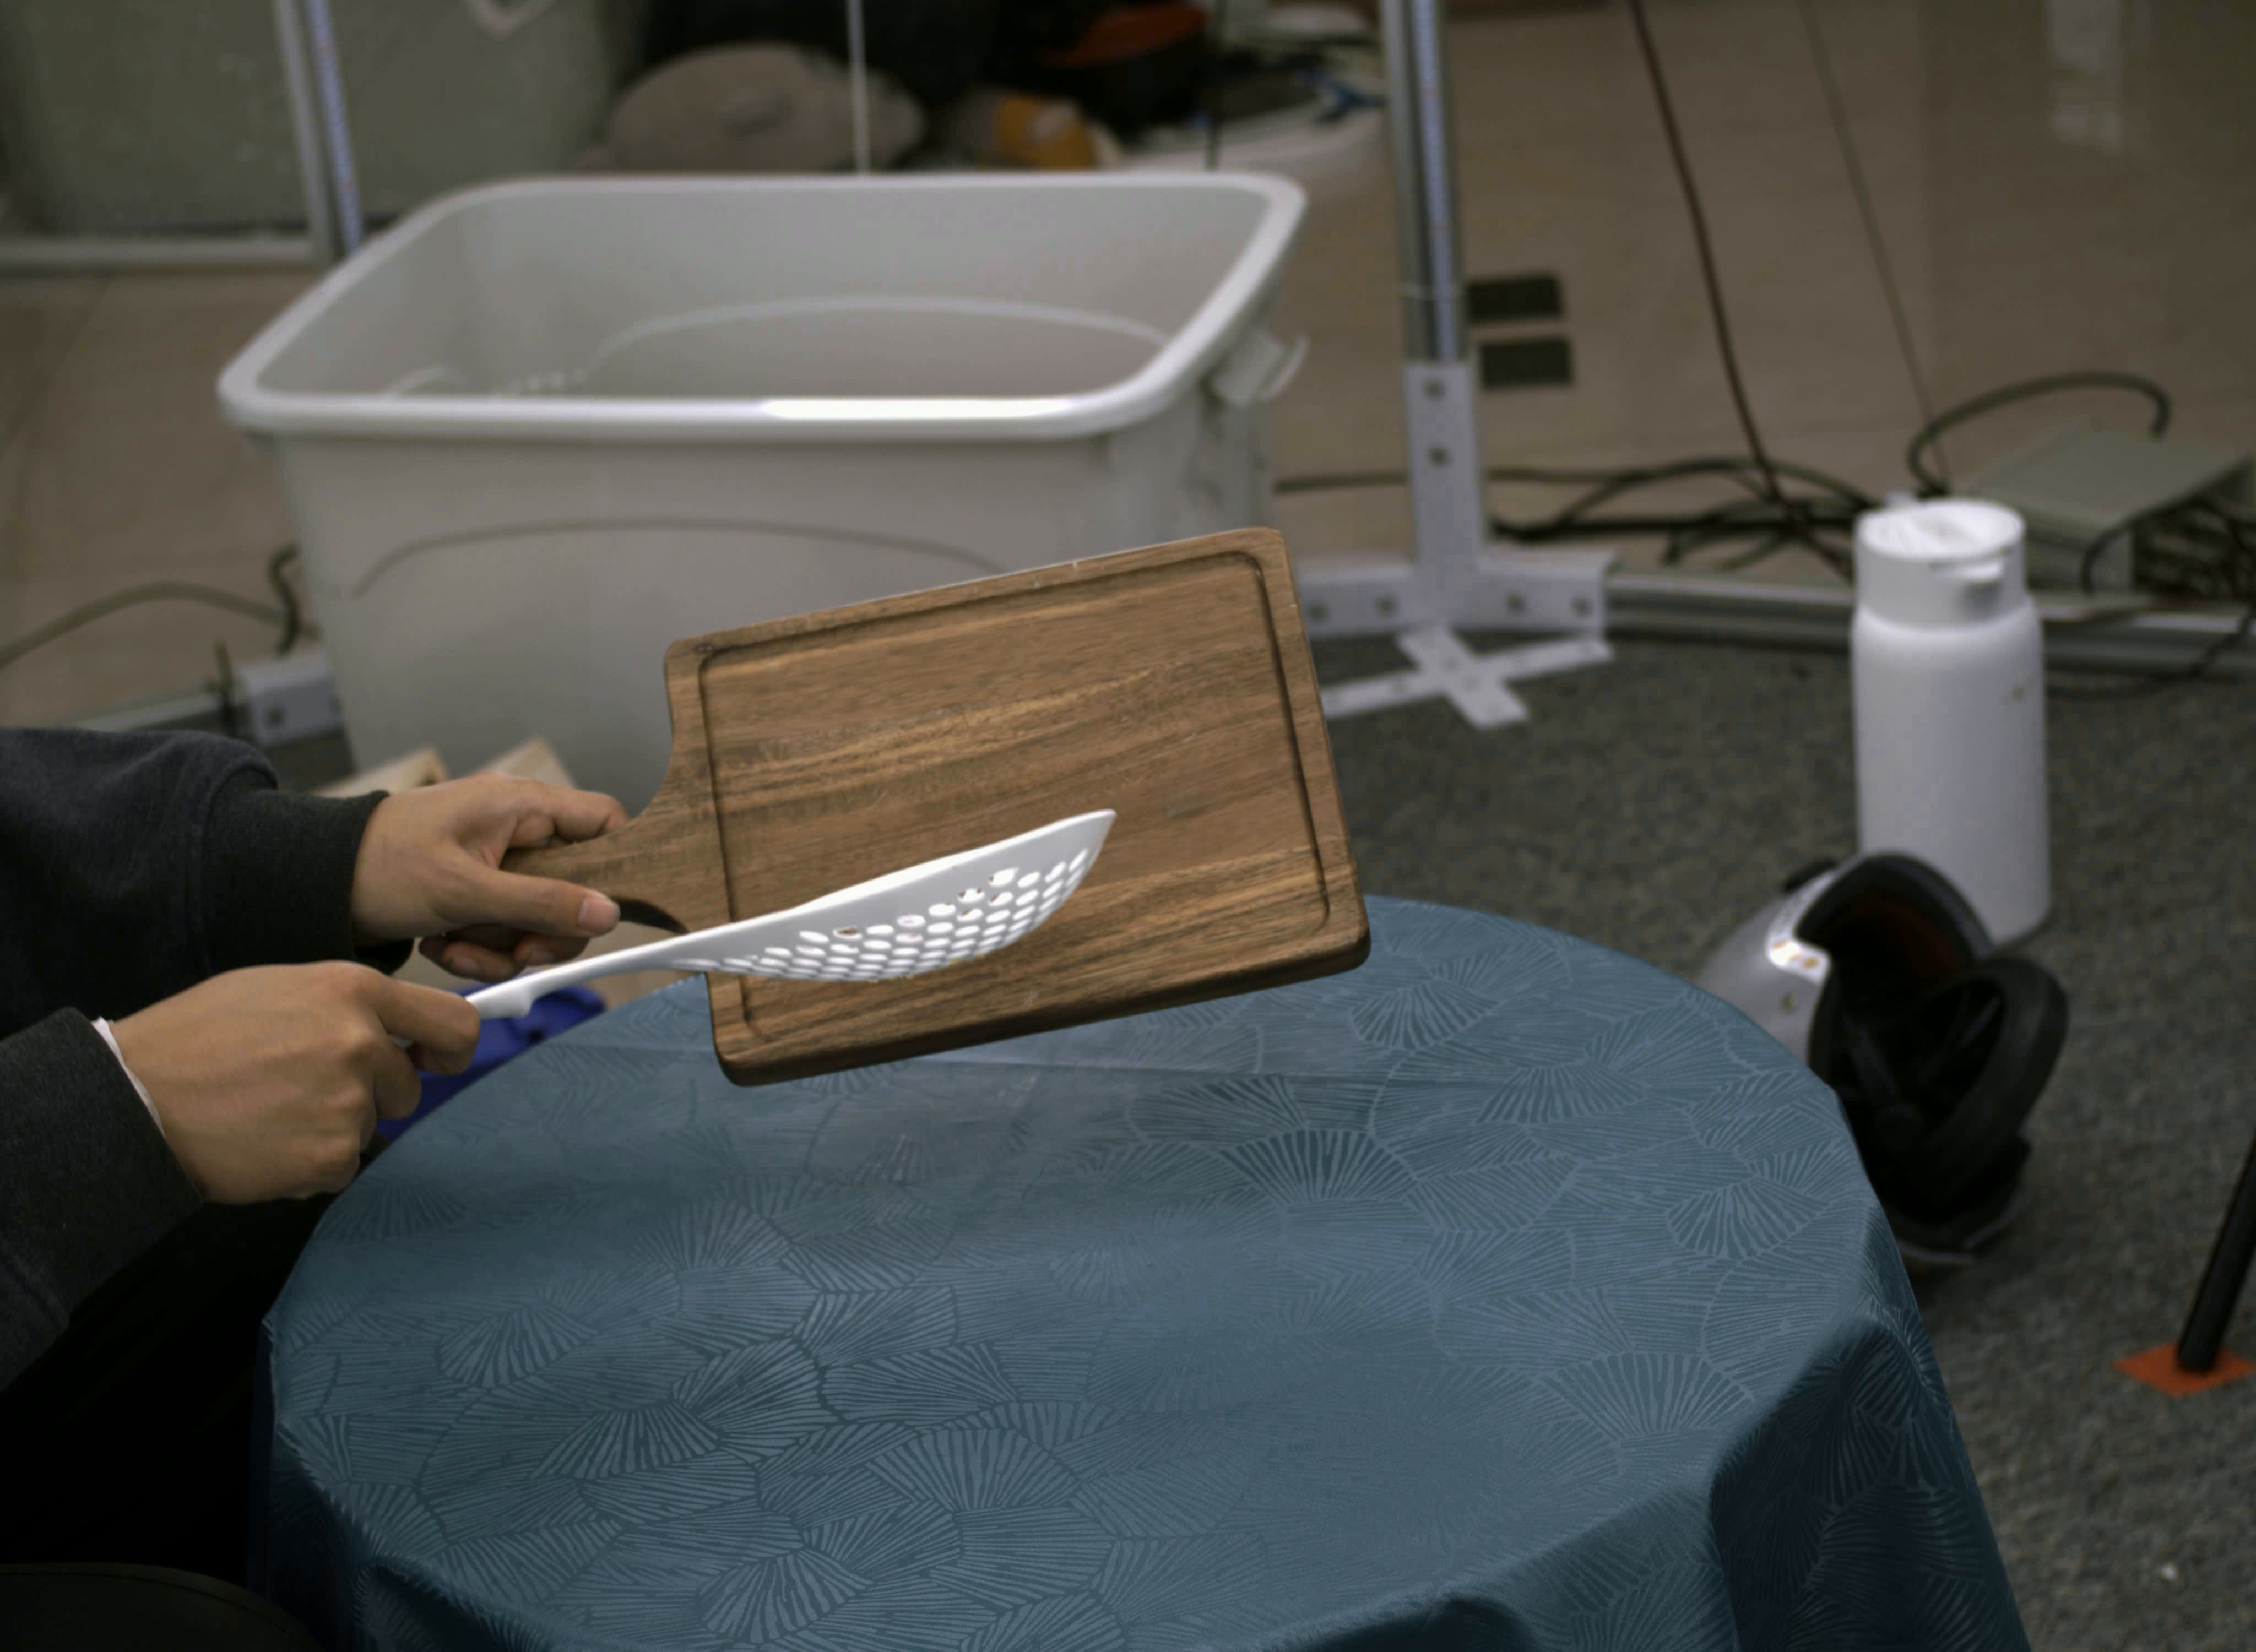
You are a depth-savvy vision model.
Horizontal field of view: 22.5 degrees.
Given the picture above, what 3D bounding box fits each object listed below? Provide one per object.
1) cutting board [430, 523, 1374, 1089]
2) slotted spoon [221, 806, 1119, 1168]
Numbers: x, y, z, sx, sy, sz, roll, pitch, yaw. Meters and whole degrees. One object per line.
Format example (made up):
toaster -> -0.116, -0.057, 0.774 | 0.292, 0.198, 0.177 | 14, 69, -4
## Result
cutting board -> -0.094, -0.001, 2.172 | 0.351, 0.023, 0.198 | -11, 60, 1
slotted spoon -> -0.160, 0.055, 1.986 | 0.346, 0.050, 0.137 | -13, 1, -25
